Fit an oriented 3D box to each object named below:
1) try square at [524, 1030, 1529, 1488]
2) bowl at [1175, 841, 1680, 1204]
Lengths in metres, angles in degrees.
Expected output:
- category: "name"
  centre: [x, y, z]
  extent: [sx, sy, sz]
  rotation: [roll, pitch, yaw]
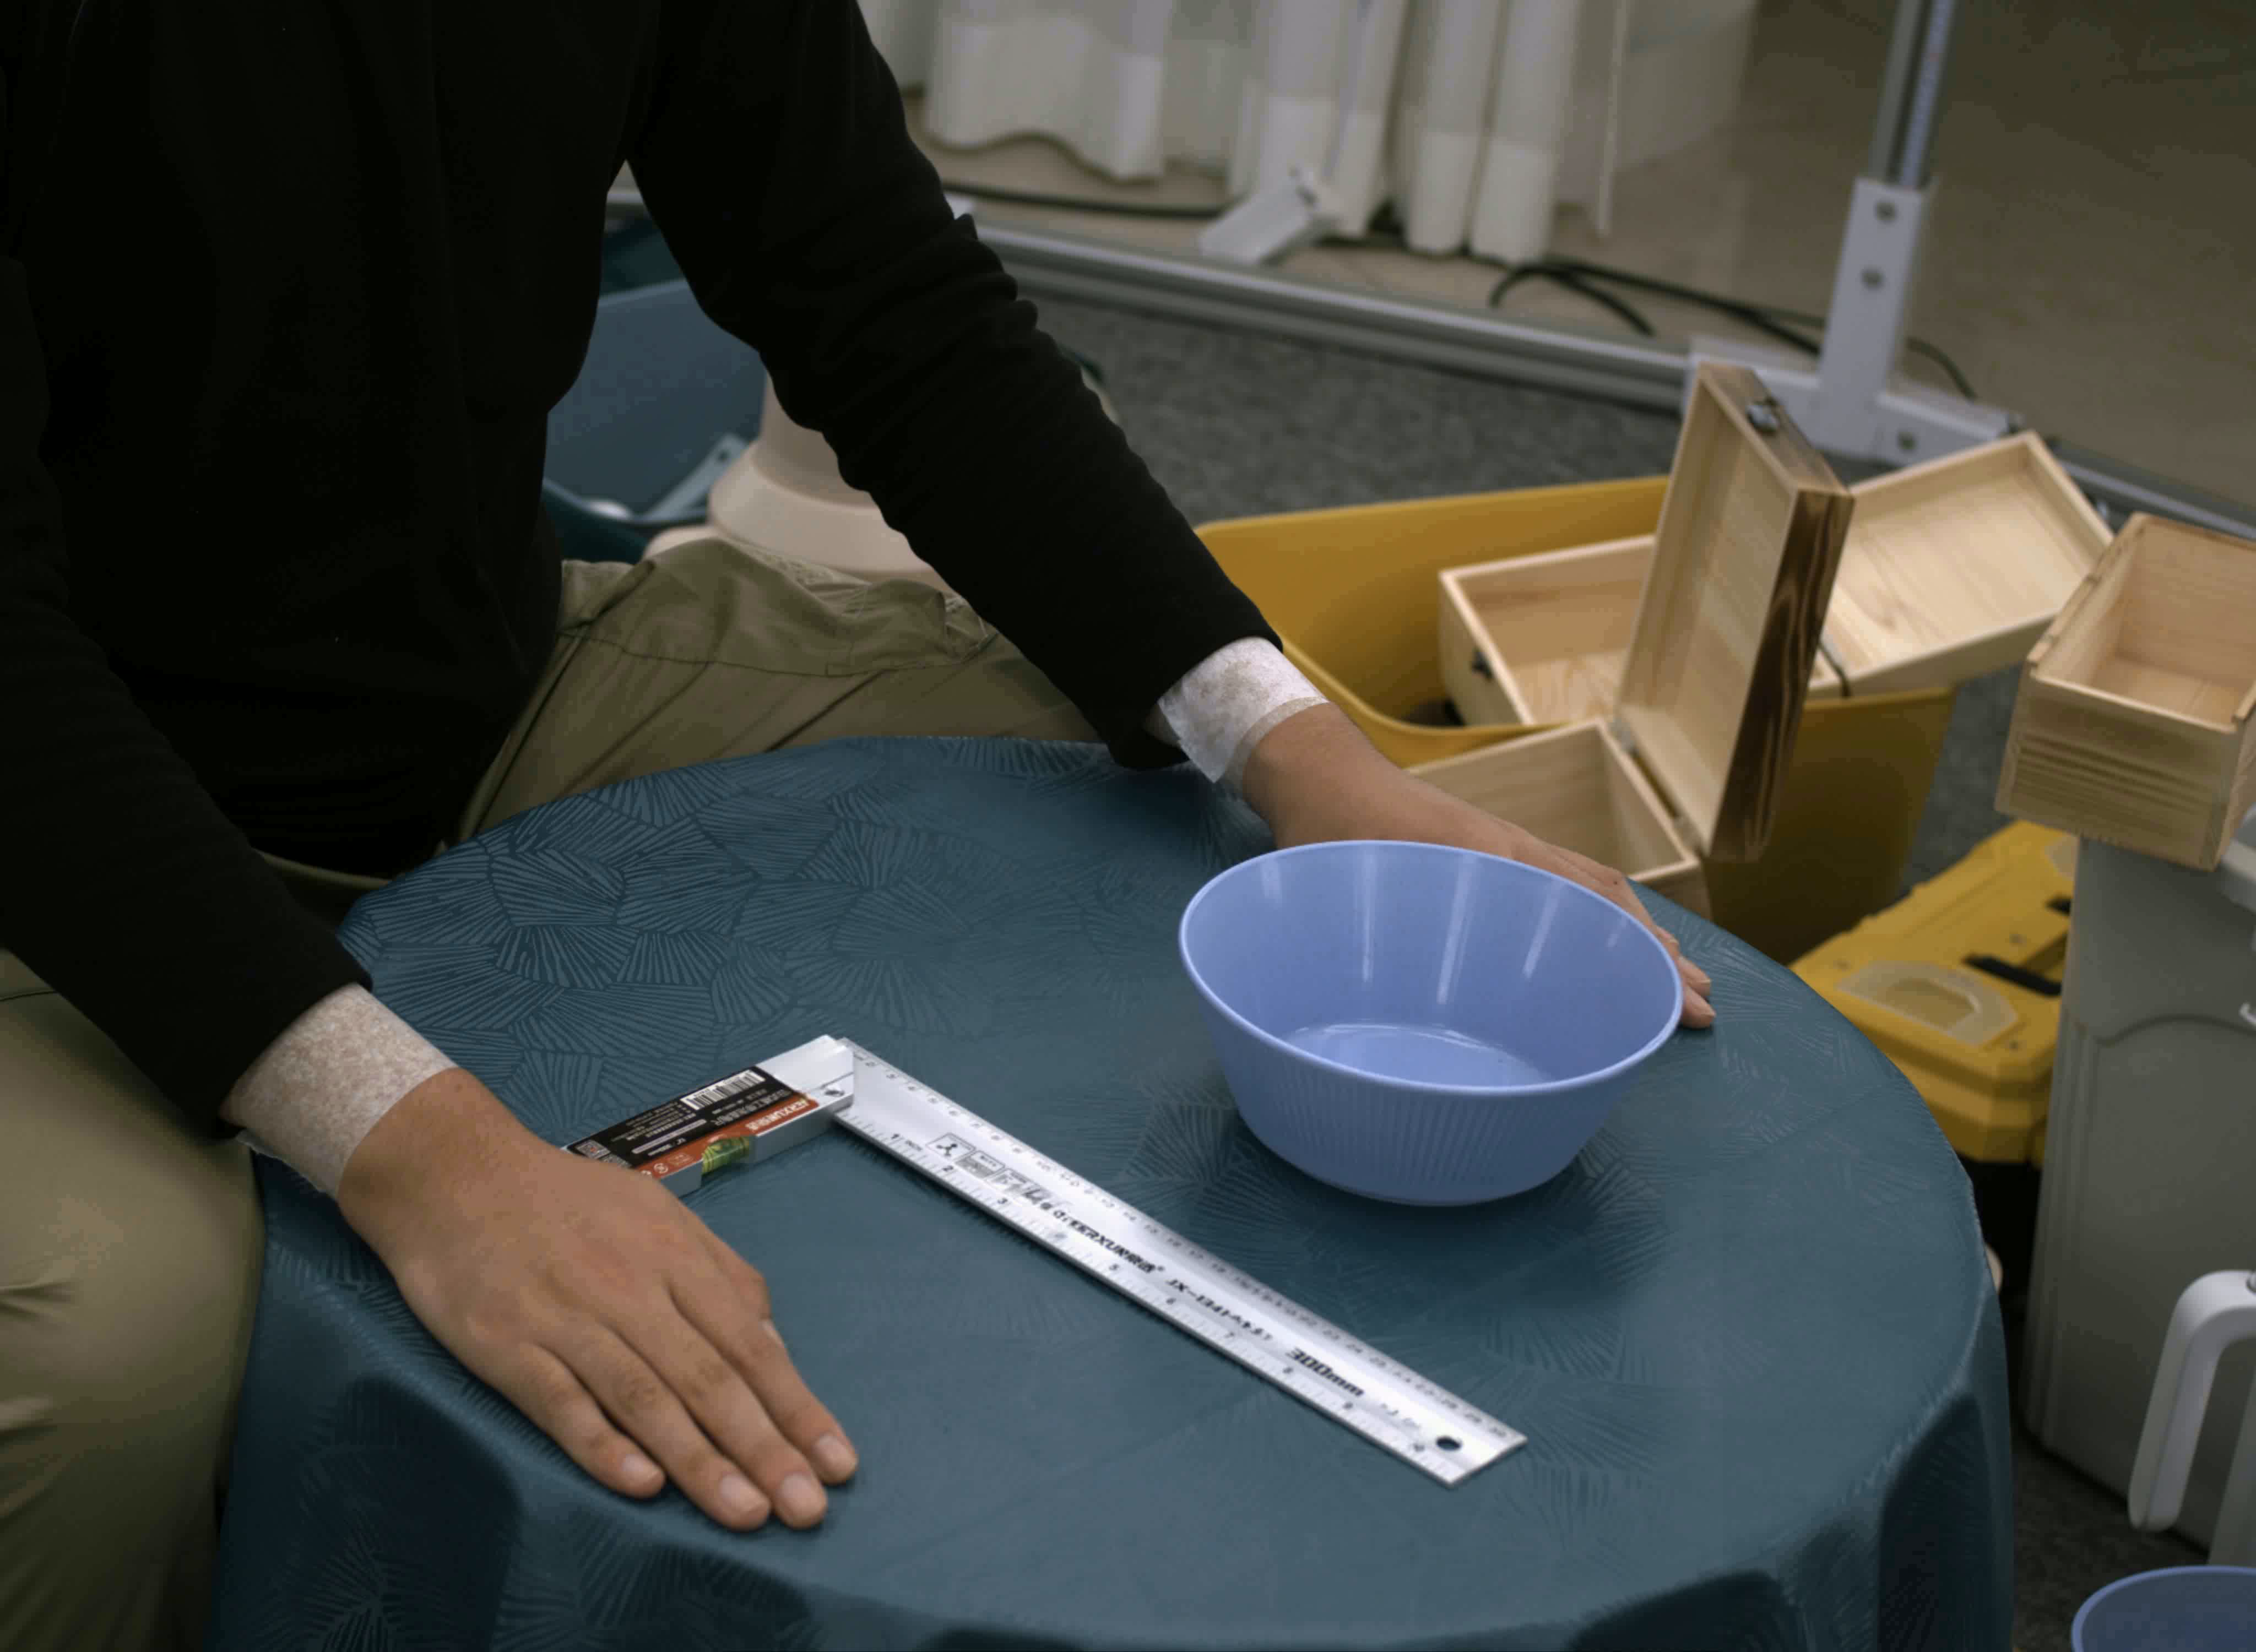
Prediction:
- category: "try square"
  centre: [-0.037, 0.157, 1.726]
  extent: [0.315, 0.016, 0.151]
  rotation: [28, 37, 34]
- category: "bowl"
  centre: [0.100, 0.074, 1.845]
  extent: [0.175, 0.070, 0.177]
  rotation: [5, 27, -3]
